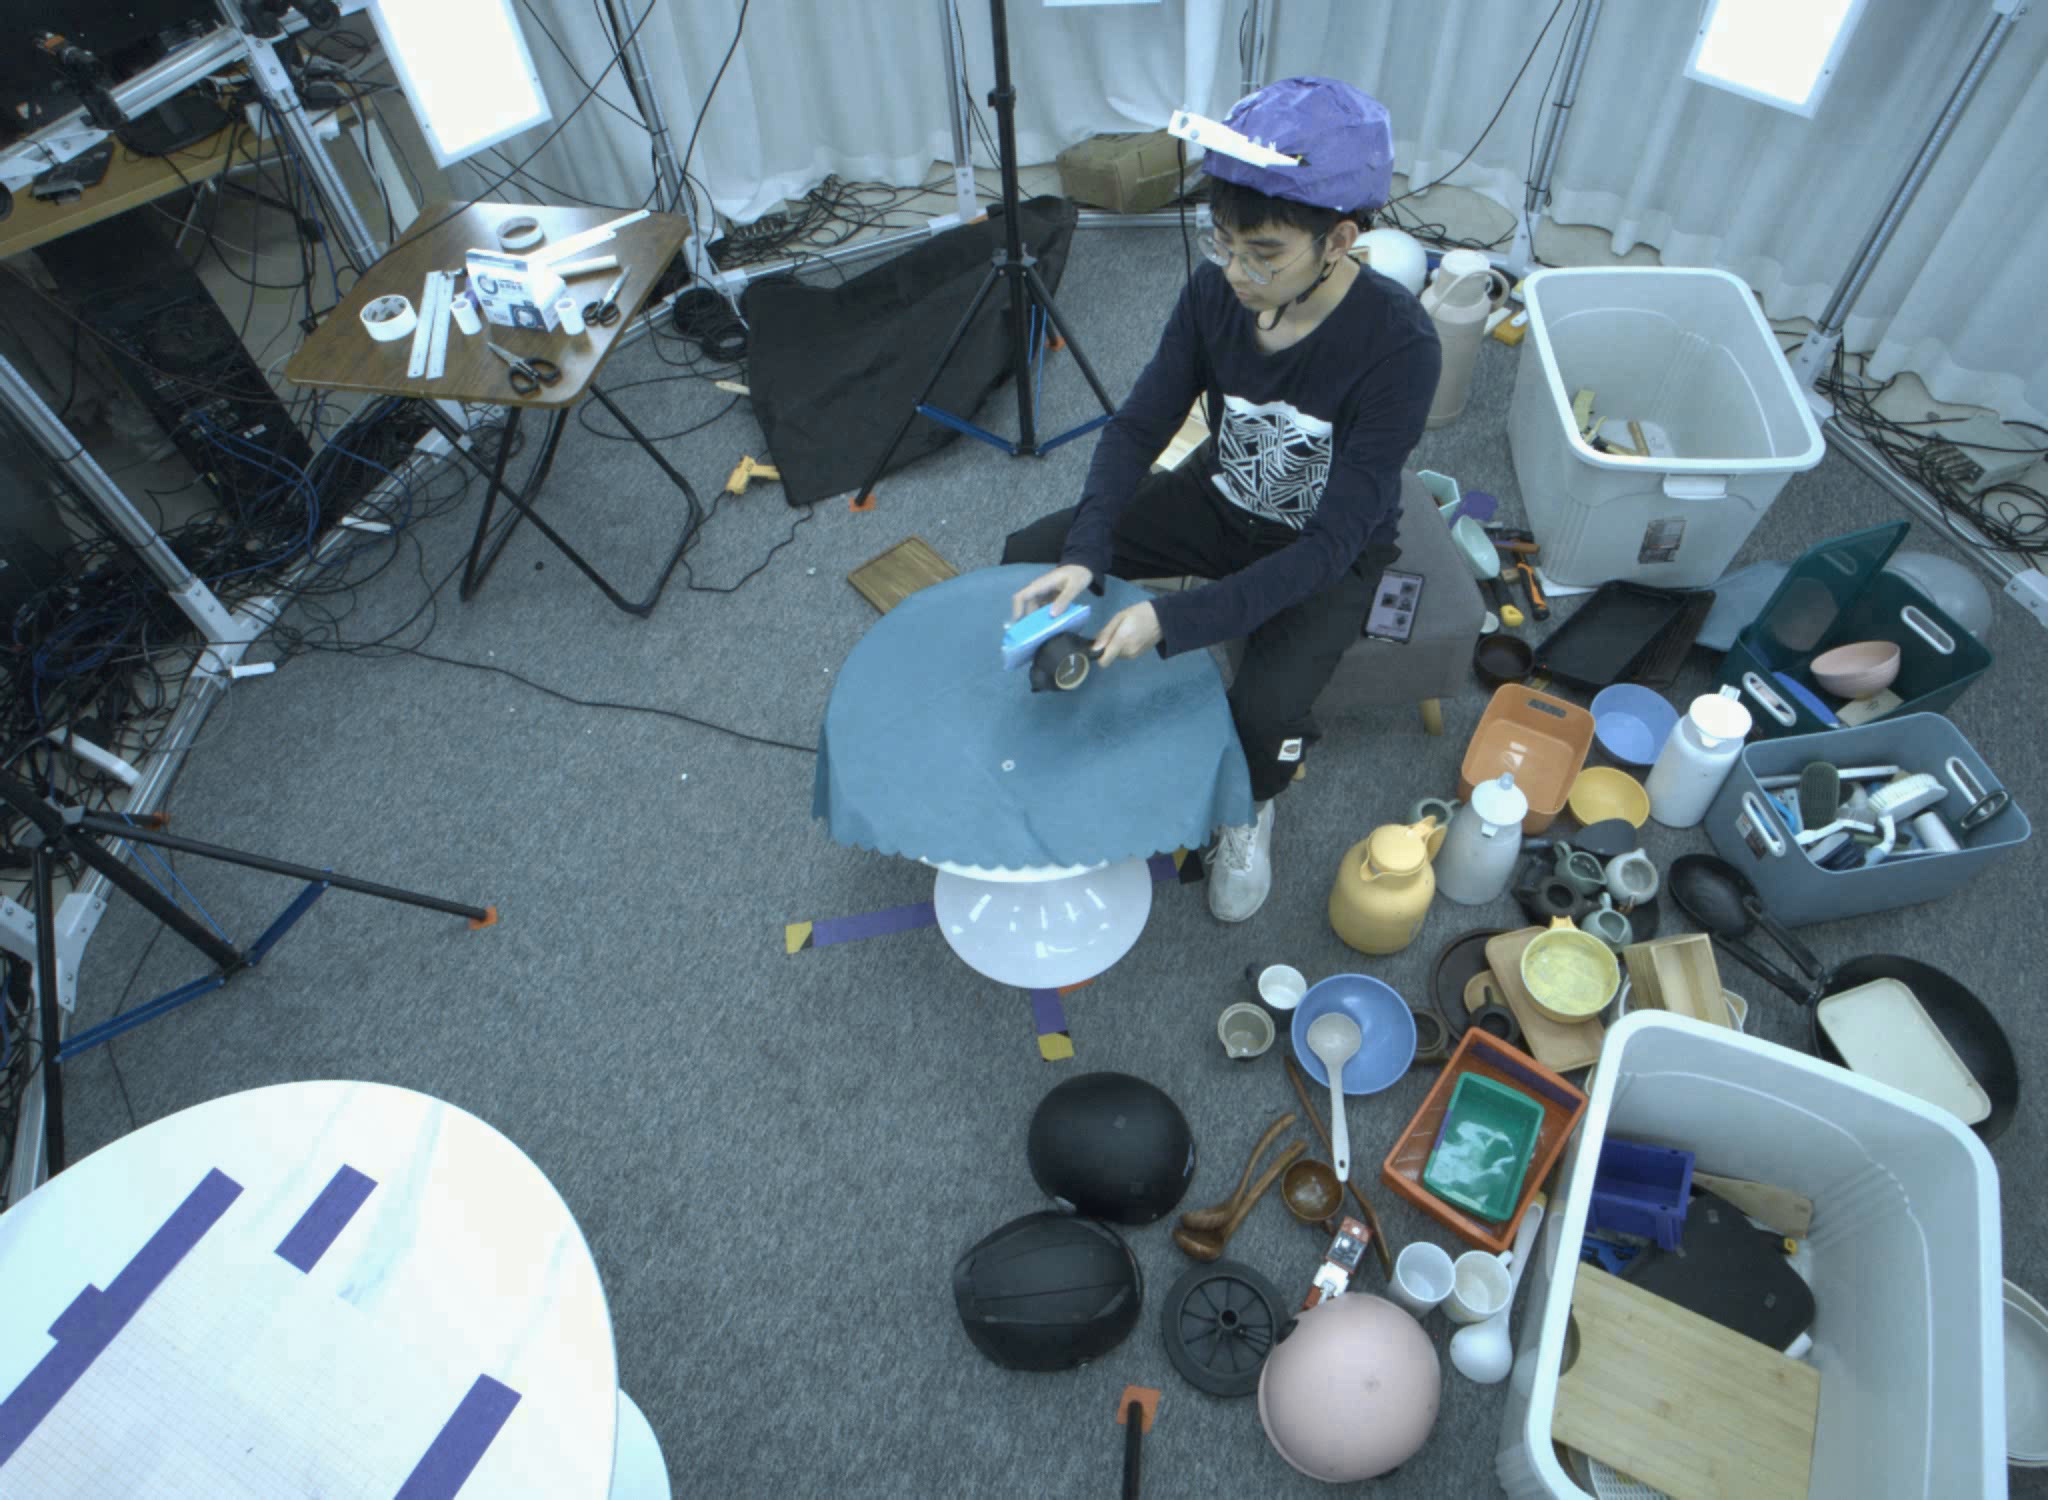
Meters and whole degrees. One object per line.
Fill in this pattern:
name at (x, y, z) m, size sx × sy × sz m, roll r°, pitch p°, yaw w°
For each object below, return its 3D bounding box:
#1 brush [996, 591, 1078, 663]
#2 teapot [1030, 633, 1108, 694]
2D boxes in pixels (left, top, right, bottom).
brush at (0.012, -0.181, 1.760) m, size 0.056 × 0.083 × 0.145 m, roll 51°, pitch 50°, yaw -4°
teapot at (0.056, -0.121, 1.730) m, size 0.134 × 0.092 × 0.052 m, roll -29°, pitch 45°, yaw -17°
